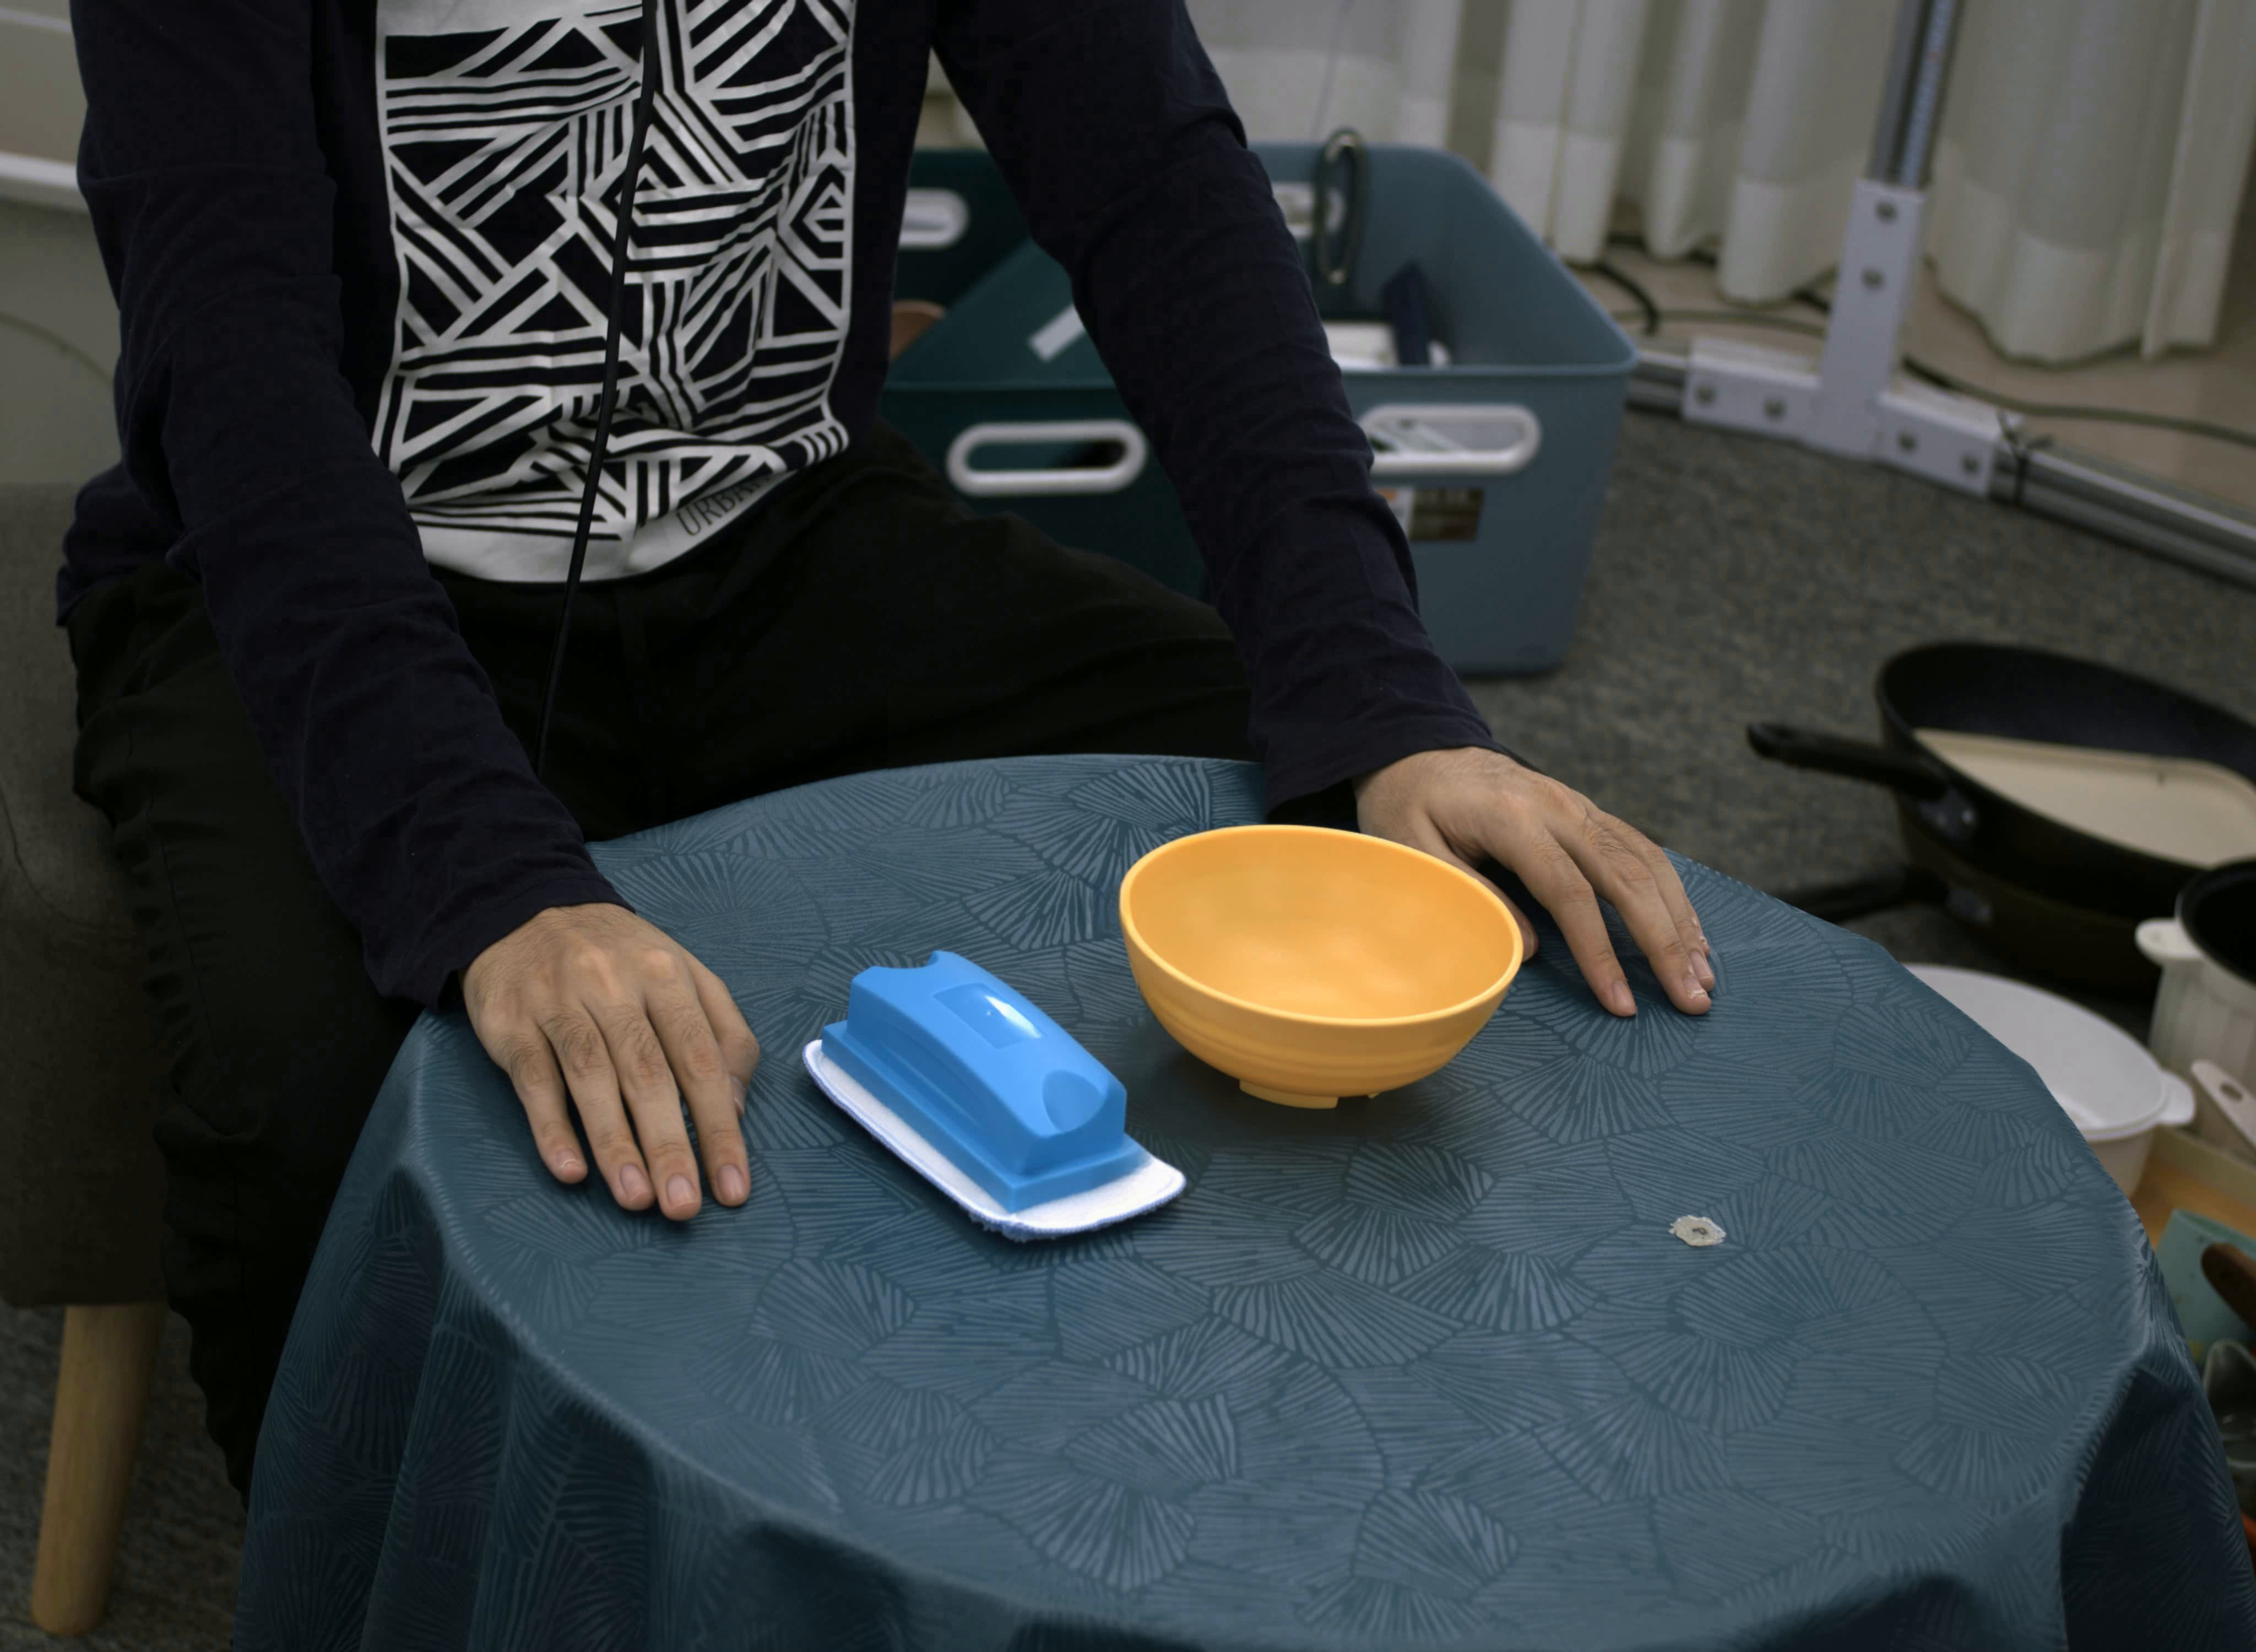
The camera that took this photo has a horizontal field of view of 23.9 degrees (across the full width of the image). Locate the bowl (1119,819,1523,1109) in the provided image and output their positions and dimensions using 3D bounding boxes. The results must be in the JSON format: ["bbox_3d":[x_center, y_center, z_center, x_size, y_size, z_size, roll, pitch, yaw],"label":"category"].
[{"bbox_3d":[0.064,0.058,1.886,0.145,0.060,0.146,6,28,-4],"label":"bowl"}]

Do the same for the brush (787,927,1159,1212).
[{"bbox_3d":[-0.051,0.079,1.816,0.083,0.056,0.145,-8,32,-33],"label":"brush"}]
